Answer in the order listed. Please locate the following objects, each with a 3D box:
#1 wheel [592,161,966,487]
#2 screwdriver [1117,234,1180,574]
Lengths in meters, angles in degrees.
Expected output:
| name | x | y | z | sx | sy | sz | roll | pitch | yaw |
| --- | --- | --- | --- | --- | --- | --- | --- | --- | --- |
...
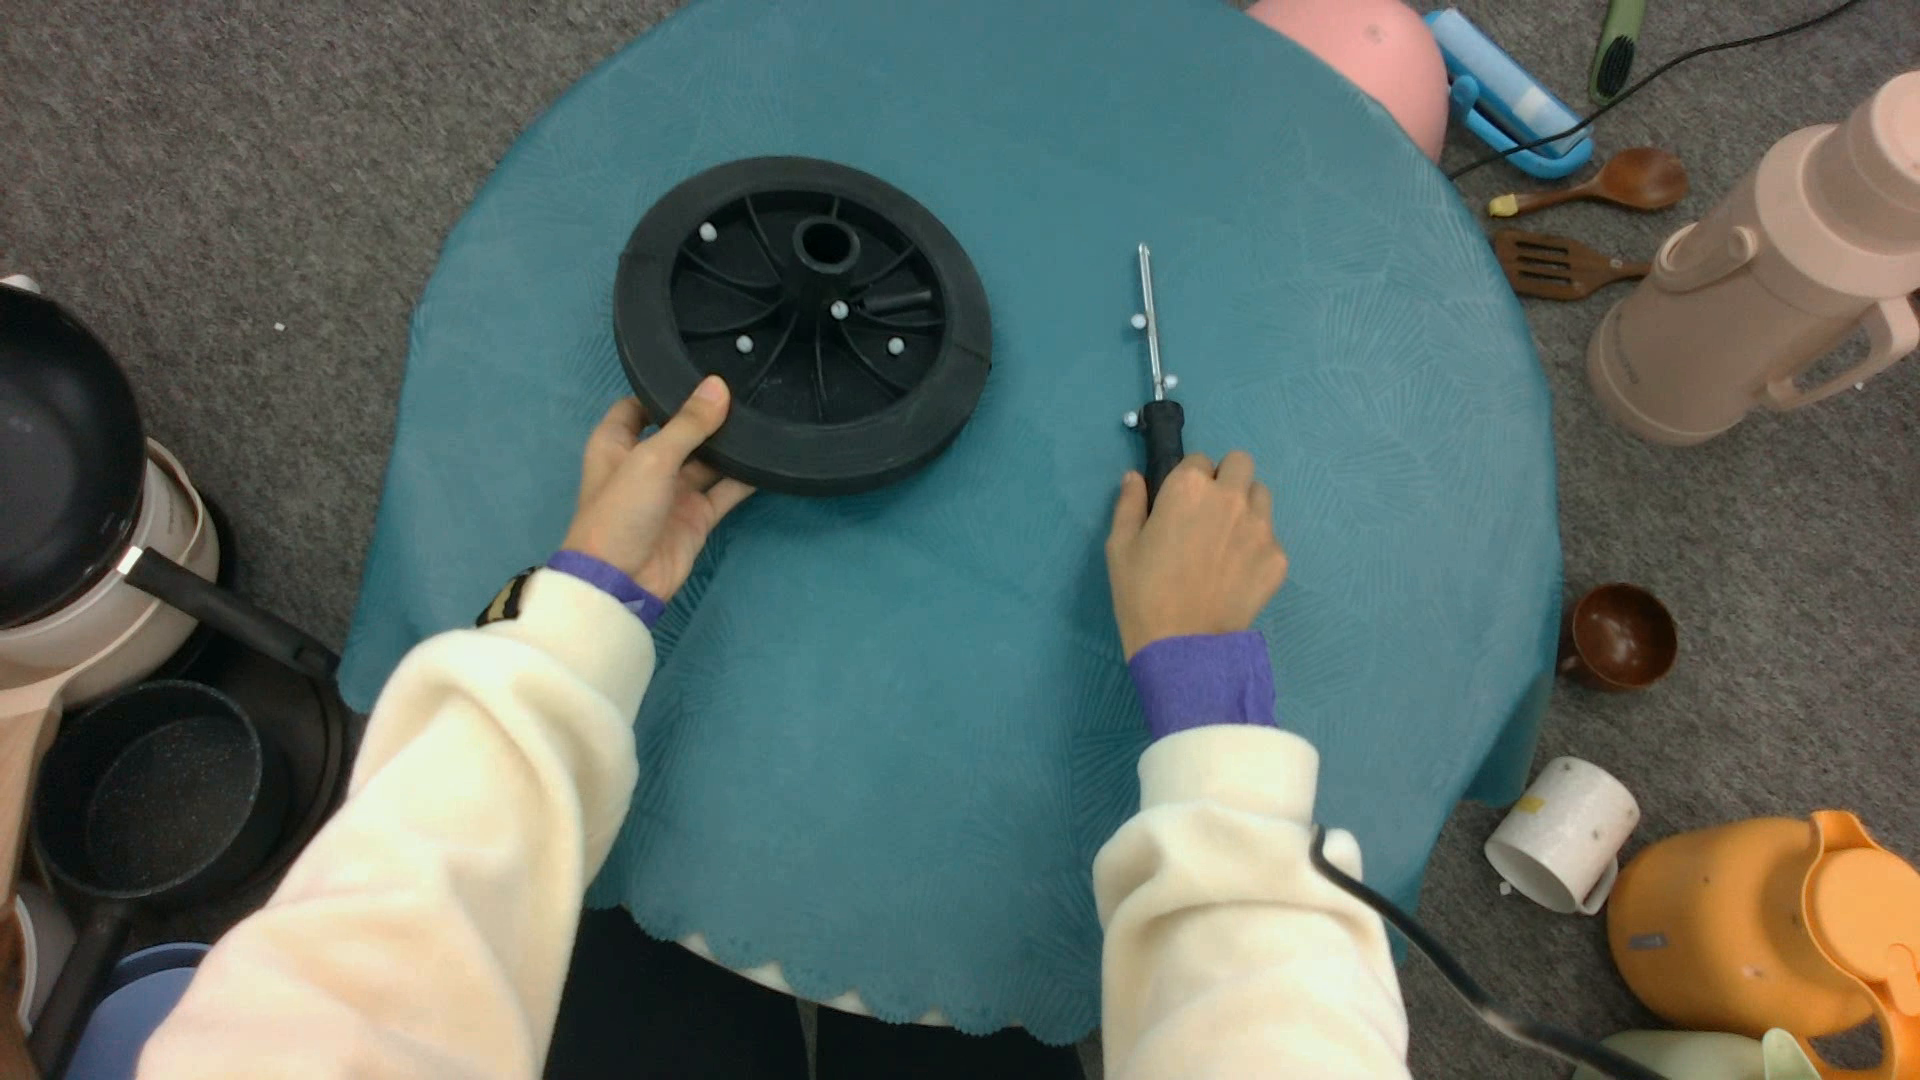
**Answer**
| name | x | y | z | sx | sy | sz | roll | pitch | yaw |
| --- | --- | --- | --- | --- | --- | --- | --- | --- | --- |
| wheel | -0.081 | -0.122 | 0.674 | 0.187 | 0.079 | 0.190 | 46 | 59 | 9 |
| screwdriver | 0.089 | -0.076 | 0.711 | 0.031 | 0.031 | 0.197 | -3 | 69 | -5 |
